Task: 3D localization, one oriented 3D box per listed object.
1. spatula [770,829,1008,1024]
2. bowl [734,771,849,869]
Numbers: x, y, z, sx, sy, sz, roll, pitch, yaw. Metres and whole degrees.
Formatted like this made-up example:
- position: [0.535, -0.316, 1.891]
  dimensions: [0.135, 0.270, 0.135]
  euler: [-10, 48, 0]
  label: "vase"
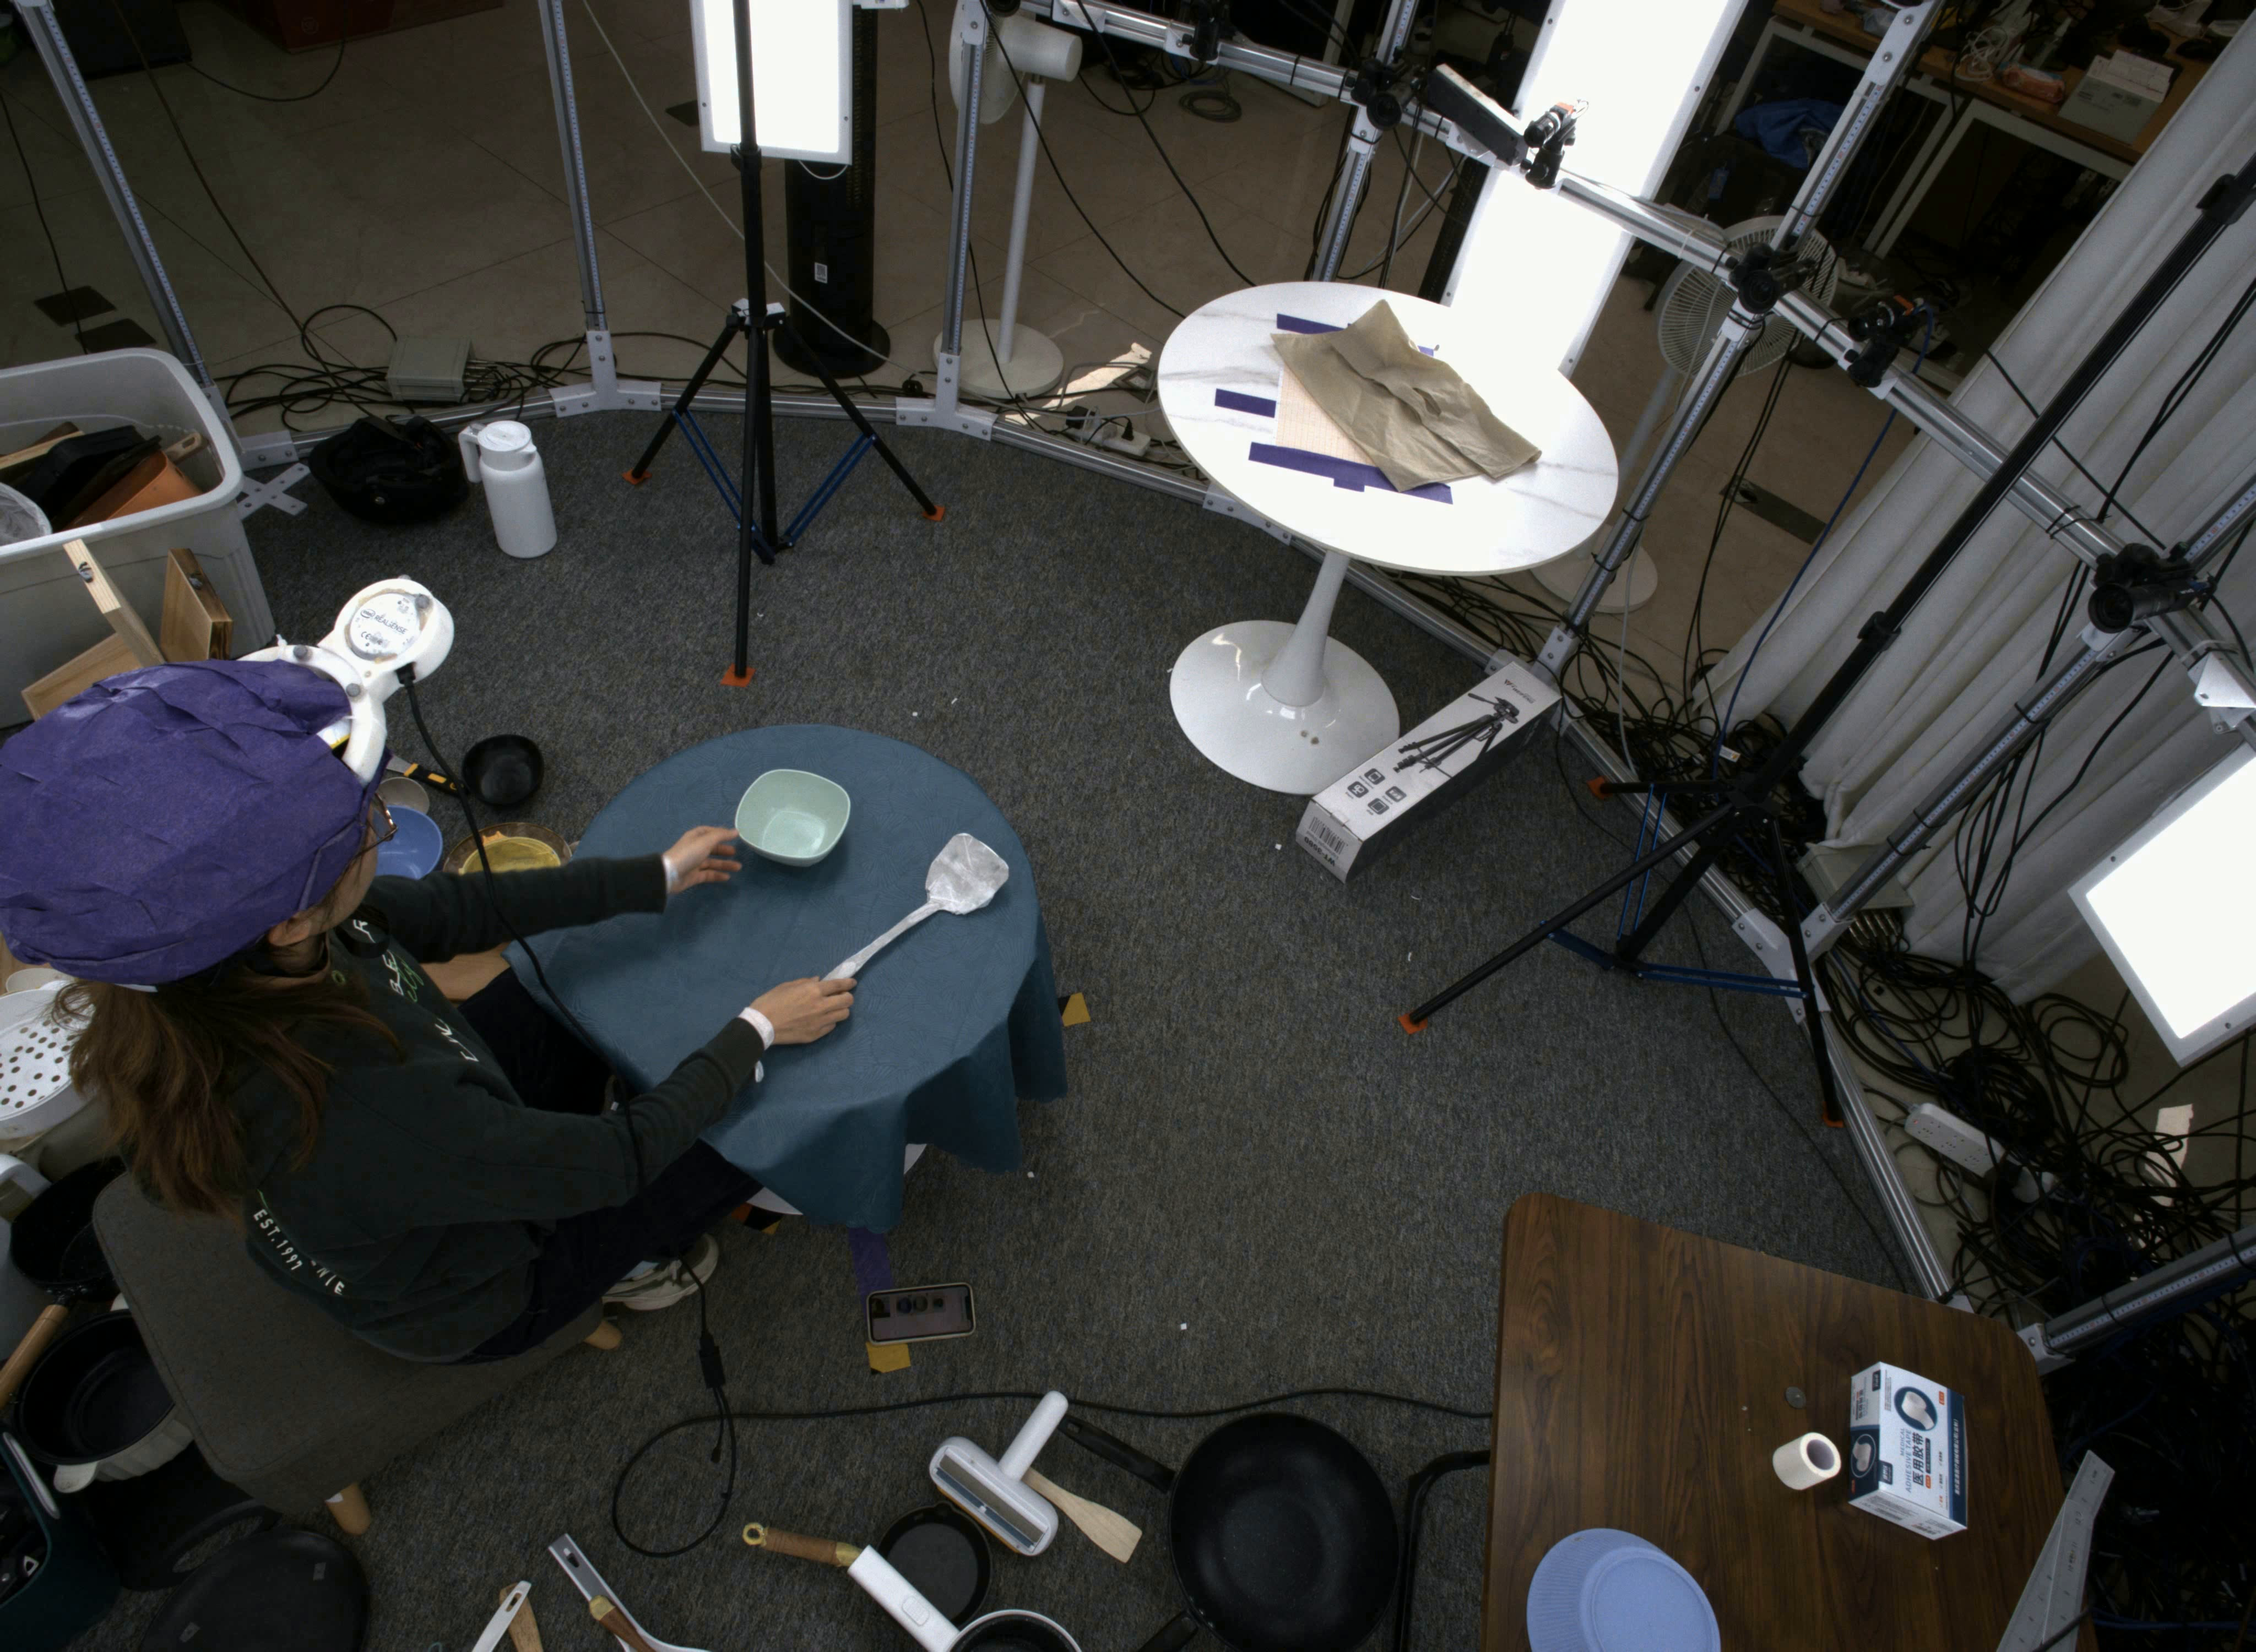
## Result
- position: [-0.303, 0.131, 1.637]
  dimensions: [0.096, 0.045, 0.365]
  euler: [40, 54, 16]
  label: "spatula"
- position: [-0.437, 0.001, 1.690]
  dimensions: [0.151, 0.060, 0.148]
  euler: [9, 50, -9]
  label: "bowl"
